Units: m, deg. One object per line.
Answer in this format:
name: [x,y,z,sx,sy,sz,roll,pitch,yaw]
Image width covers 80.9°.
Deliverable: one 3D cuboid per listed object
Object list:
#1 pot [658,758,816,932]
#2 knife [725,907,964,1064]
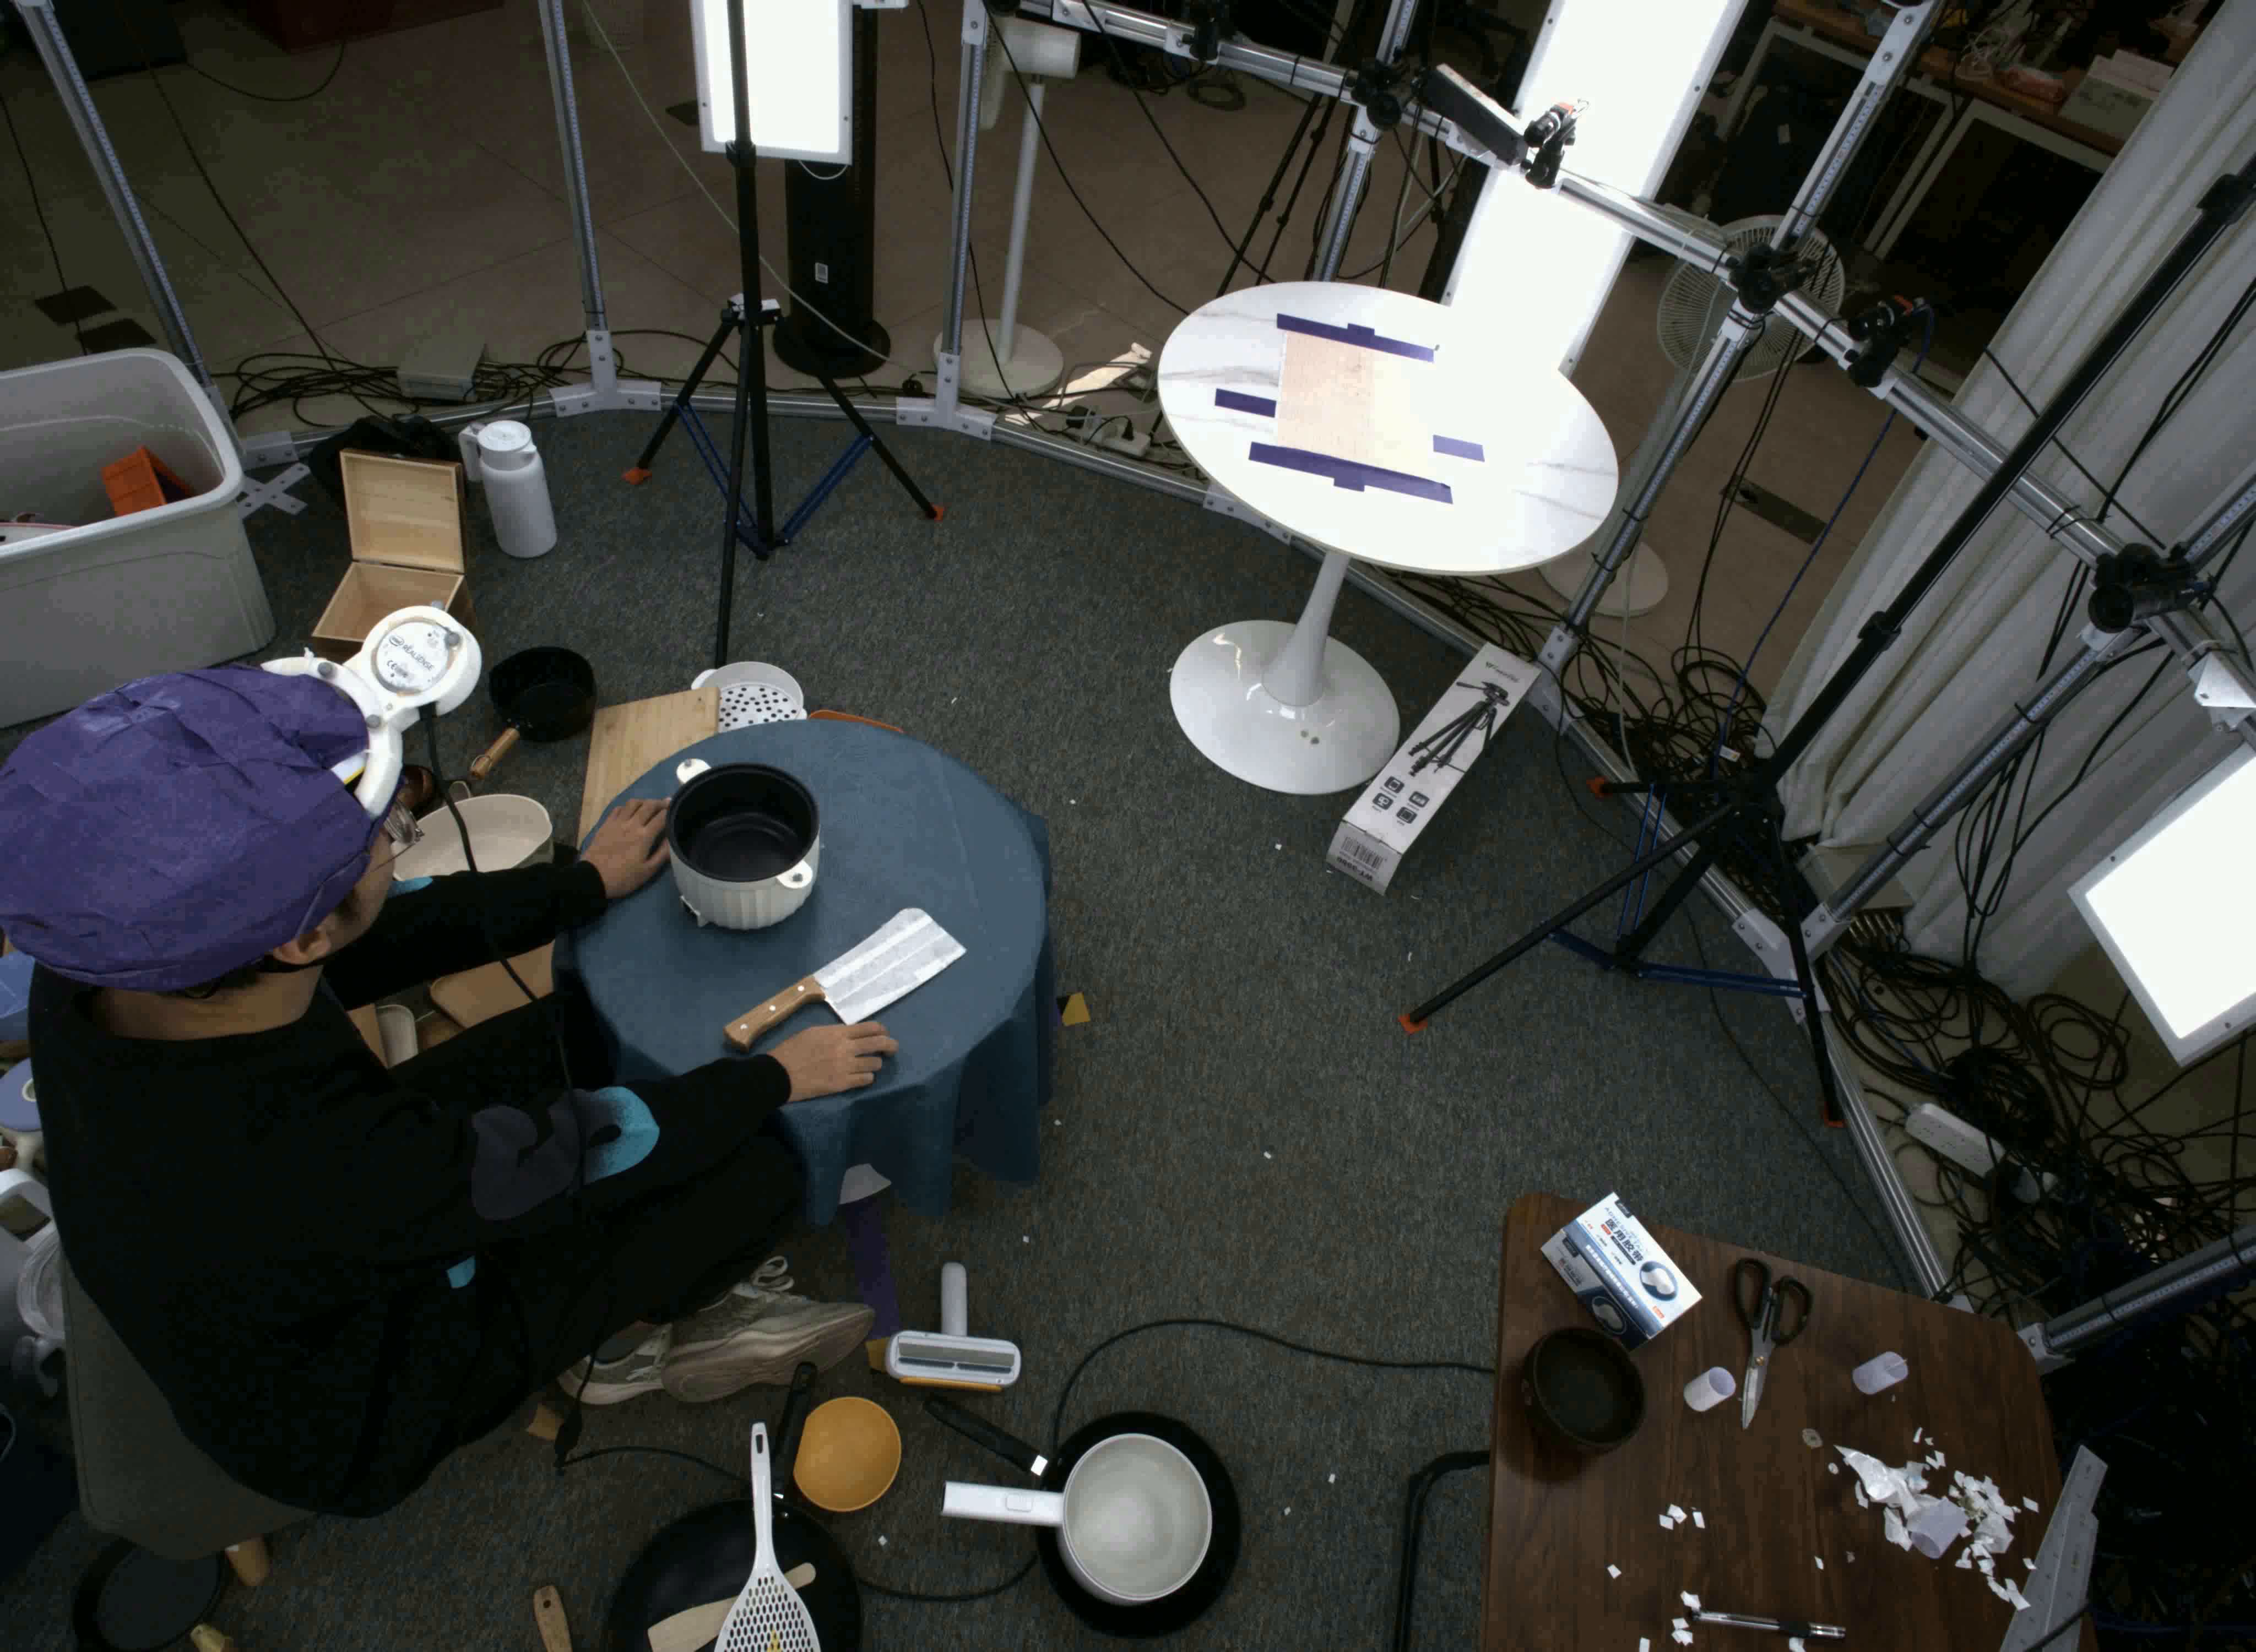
pot: [-0.471,0.027,1.590,0.235,0.145,0.191,41,58,16]
knife: [-0.346,0.192,1.579,0.317,0.022,0.111,-30,66,-34]
